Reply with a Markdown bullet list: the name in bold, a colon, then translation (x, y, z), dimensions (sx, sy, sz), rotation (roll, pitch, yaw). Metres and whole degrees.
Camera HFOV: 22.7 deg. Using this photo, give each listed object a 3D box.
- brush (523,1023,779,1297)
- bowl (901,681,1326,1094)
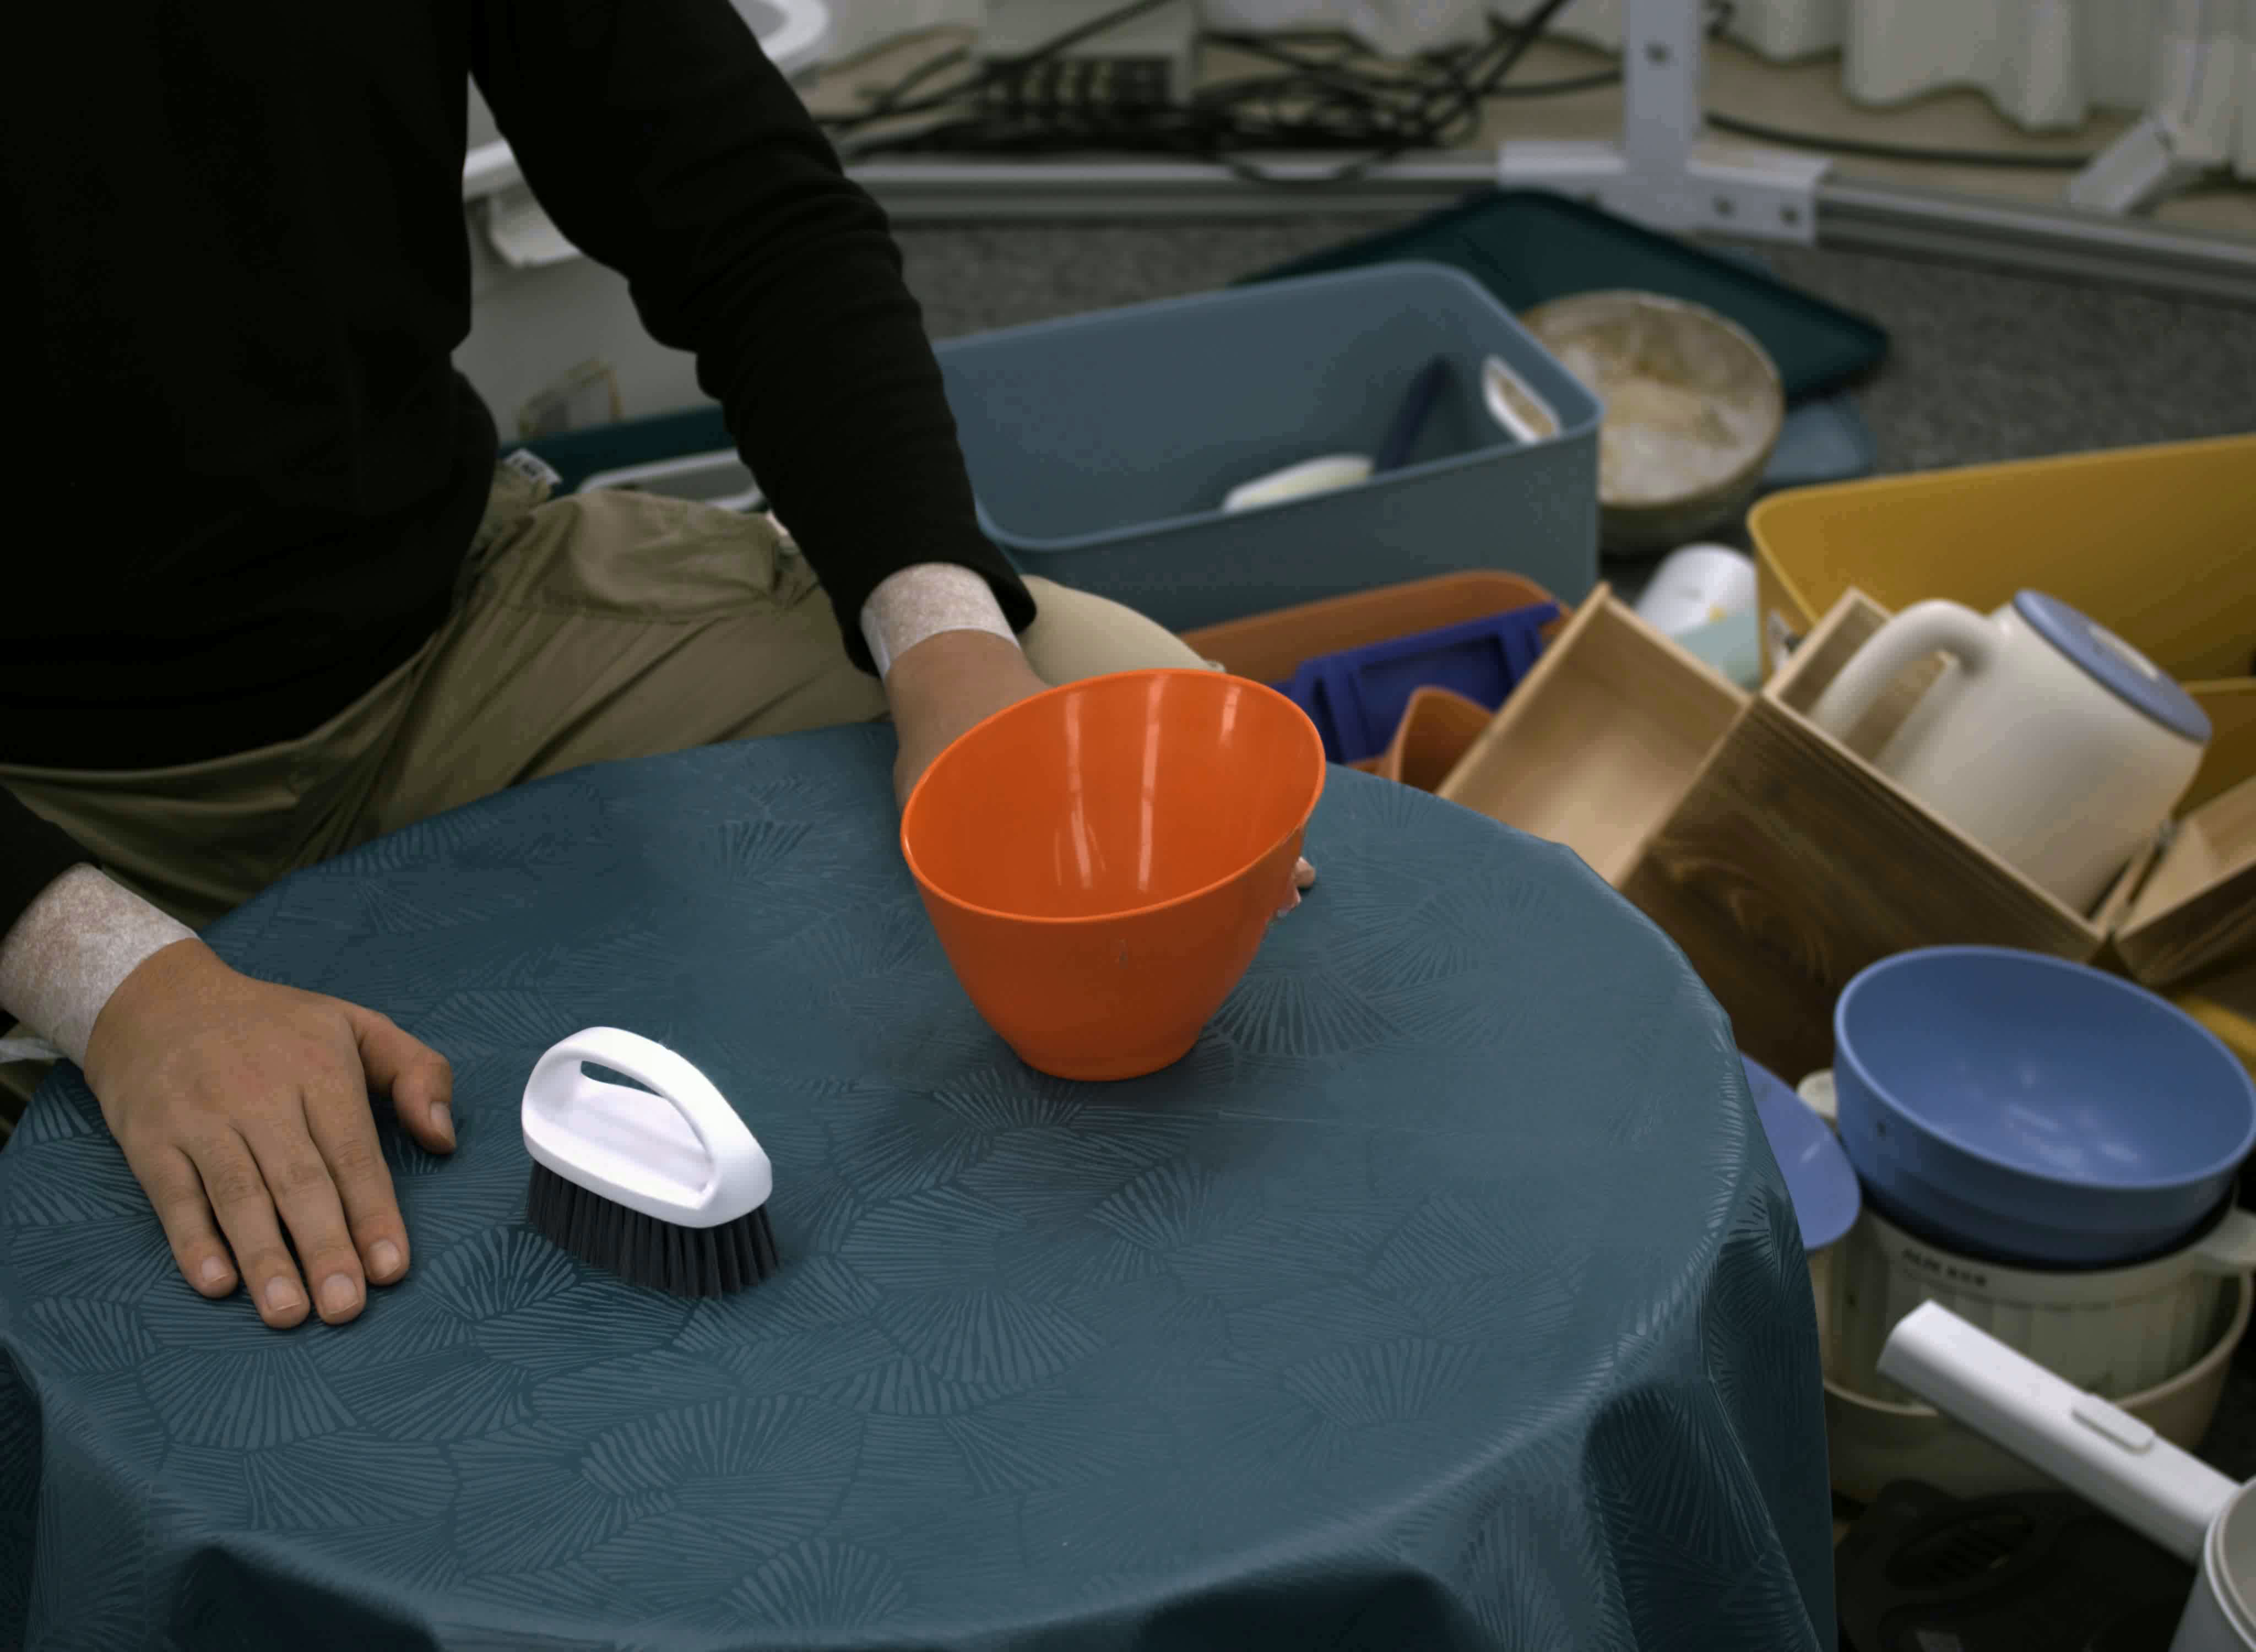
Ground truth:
- **brush**: translation (-0.159, 0.103, 1.834), dimensions (0.051, 0.072, 0.099), rotation (-27, 35, -38)
- **bowl**: translation (-0.002, 0.028, 1.939), dimensions (0.147, 0.103, 0.150), rotation (-3, 26, 2)
